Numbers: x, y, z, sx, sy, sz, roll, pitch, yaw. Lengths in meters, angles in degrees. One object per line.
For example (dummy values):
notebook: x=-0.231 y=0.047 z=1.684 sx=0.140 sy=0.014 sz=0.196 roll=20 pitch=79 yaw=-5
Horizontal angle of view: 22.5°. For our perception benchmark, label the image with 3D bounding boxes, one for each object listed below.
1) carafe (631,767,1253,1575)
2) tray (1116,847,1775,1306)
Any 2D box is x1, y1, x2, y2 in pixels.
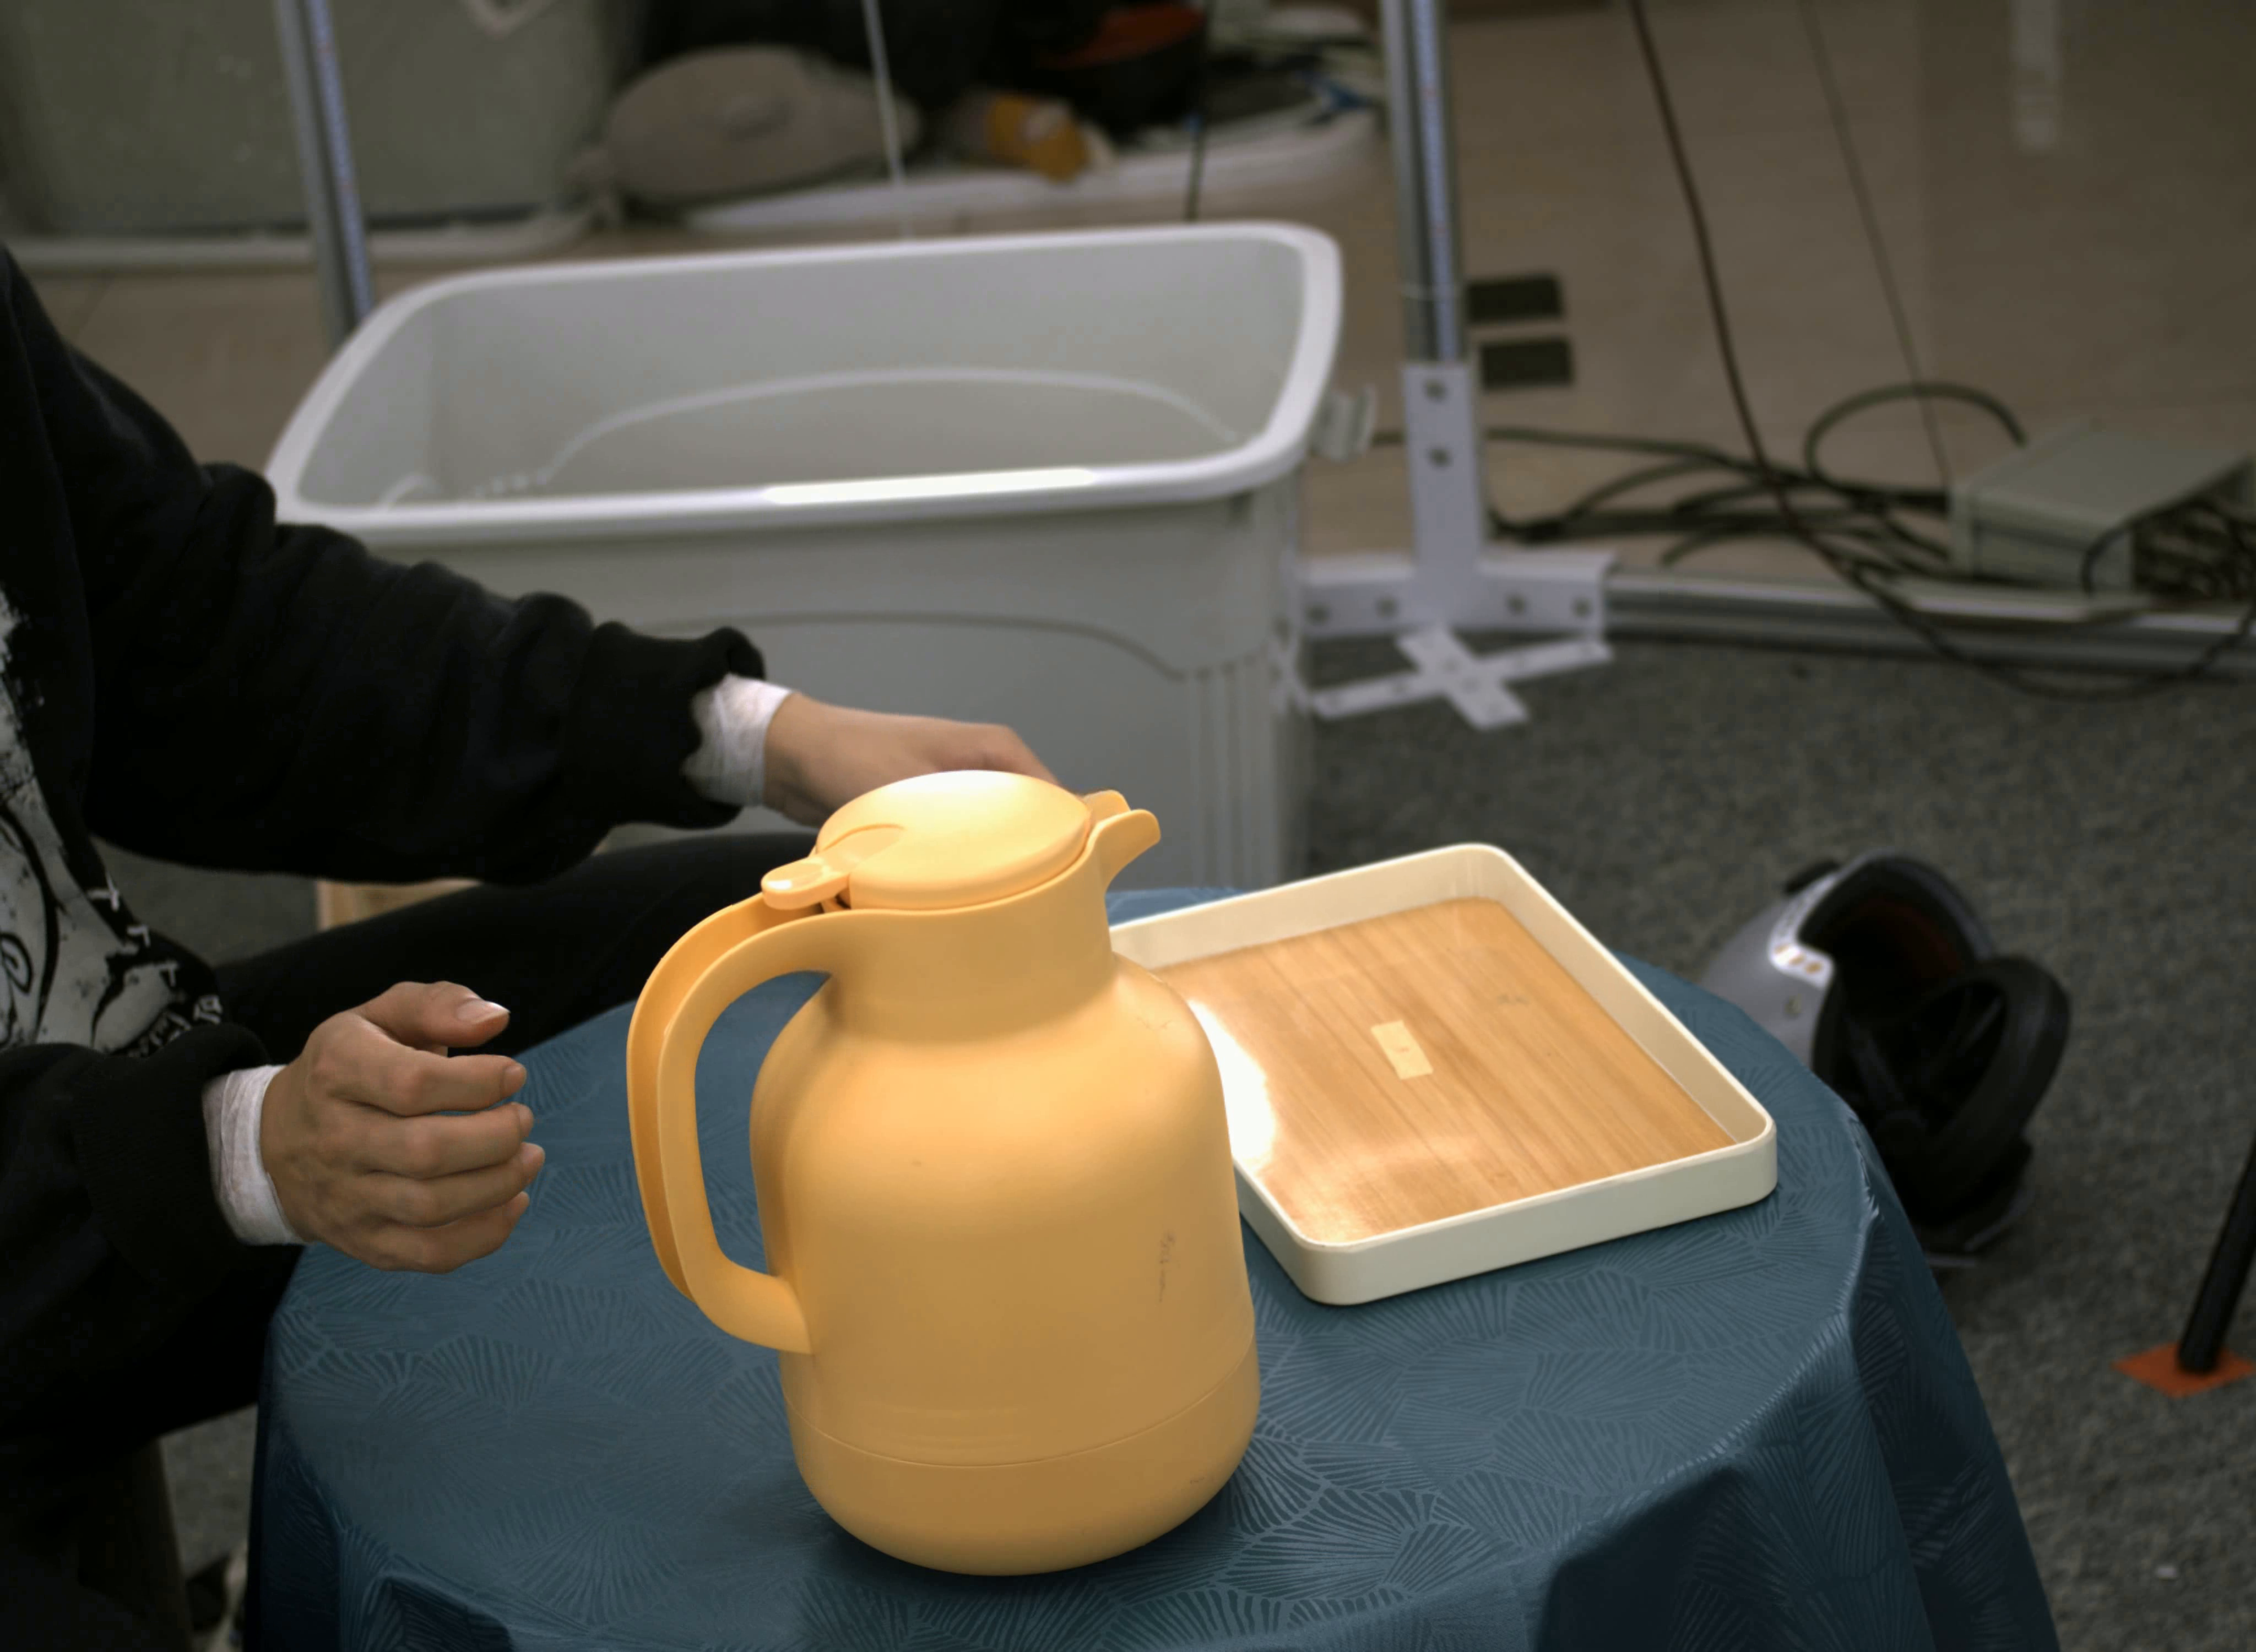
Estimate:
carafe: x=-0.064 y=0.116 z=1.901 sx=0.201 sy=0.264 sz=0.161 roll=-16 pitch=25 yaw=-21
tray: x=0.109 y=0.092 z=2.194 sx=0.191 sy=0.028 sz=0.296 roll=-13 pitch=25 yaw=-14
